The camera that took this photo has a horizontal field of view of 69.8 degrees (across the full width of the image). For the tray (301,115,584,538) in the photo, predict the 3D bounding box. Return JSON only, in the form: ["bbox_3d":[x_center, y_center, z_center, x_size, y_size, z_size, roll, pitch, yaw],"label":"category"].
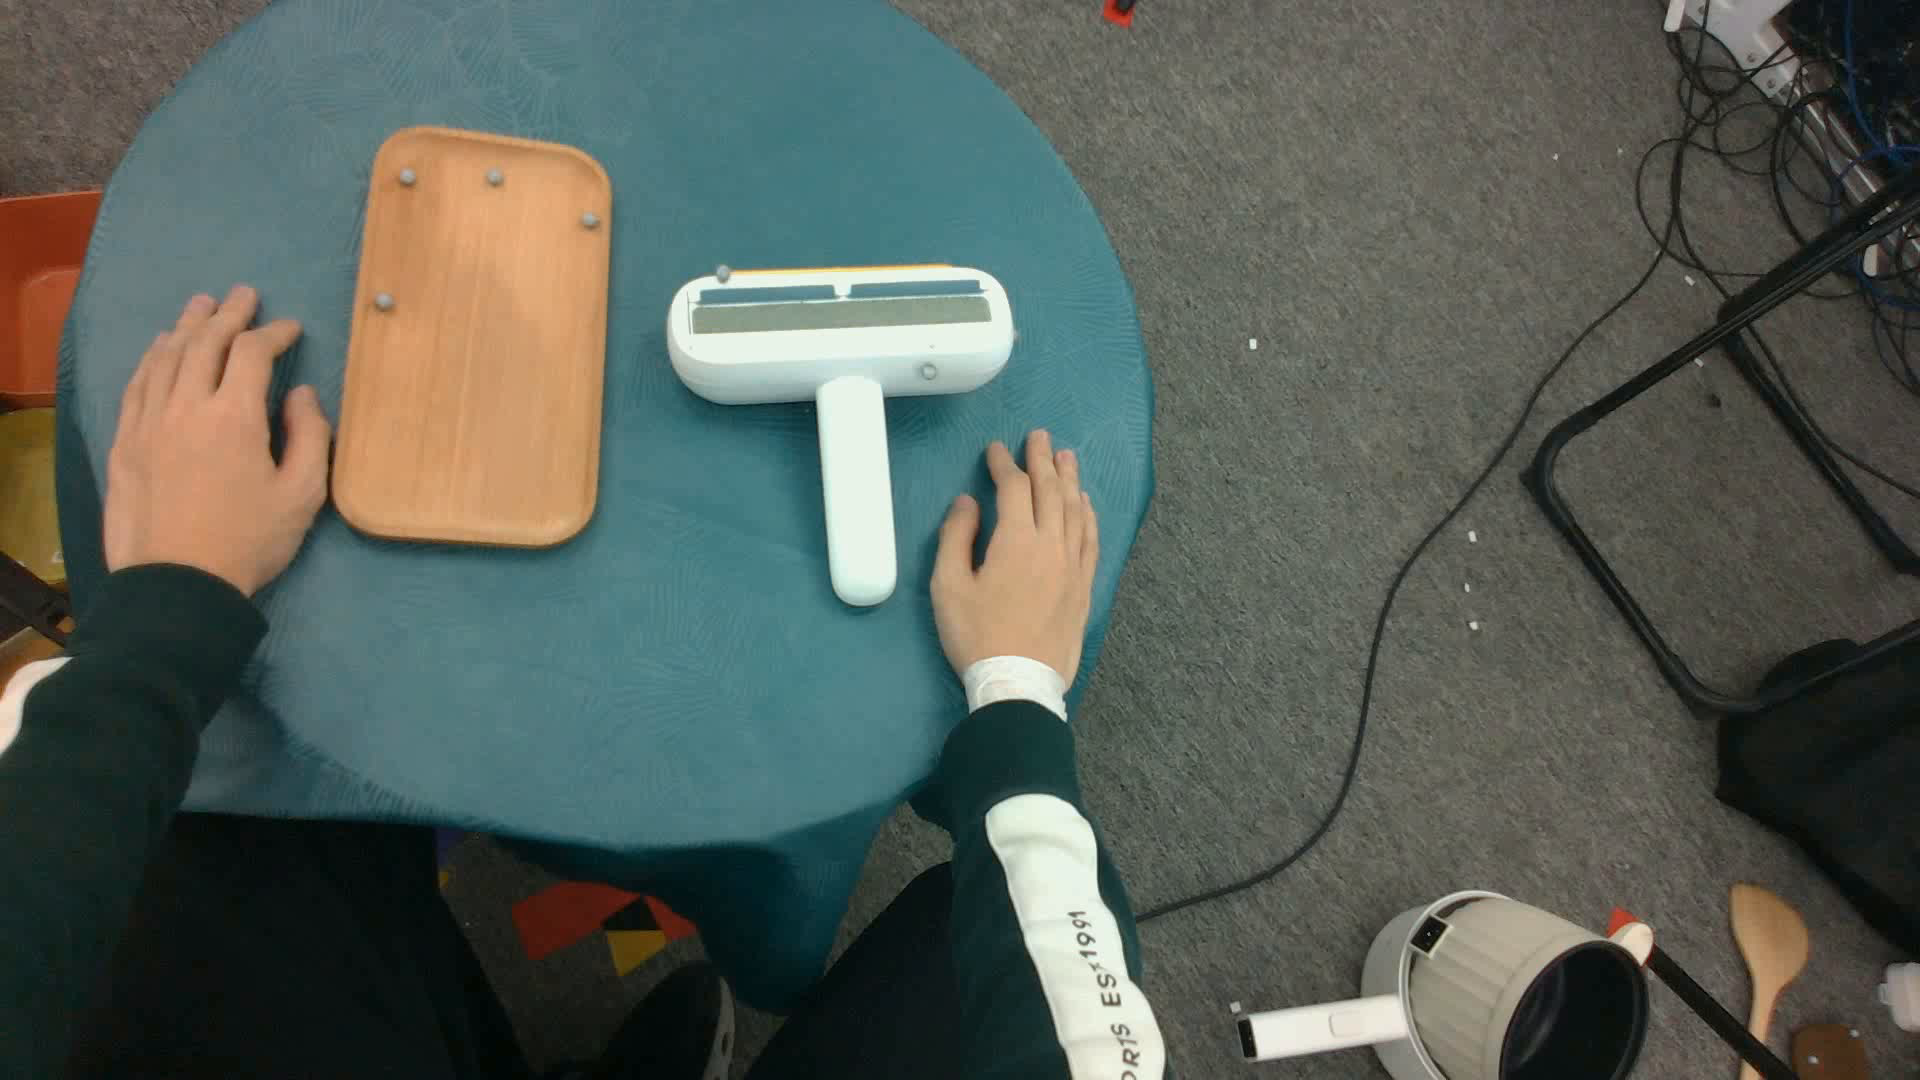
[{"bbox_3d":[-0.273,-0.119,0.743,0.131,0.023,0.251,3,68,-16],"label":"tray"}]

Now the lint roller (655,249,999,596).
[{"bbox_3d":[-0.076,-0.066,0.782,0.193,0.074,0.192,1,83,-11],"label":"lint roller"}]
